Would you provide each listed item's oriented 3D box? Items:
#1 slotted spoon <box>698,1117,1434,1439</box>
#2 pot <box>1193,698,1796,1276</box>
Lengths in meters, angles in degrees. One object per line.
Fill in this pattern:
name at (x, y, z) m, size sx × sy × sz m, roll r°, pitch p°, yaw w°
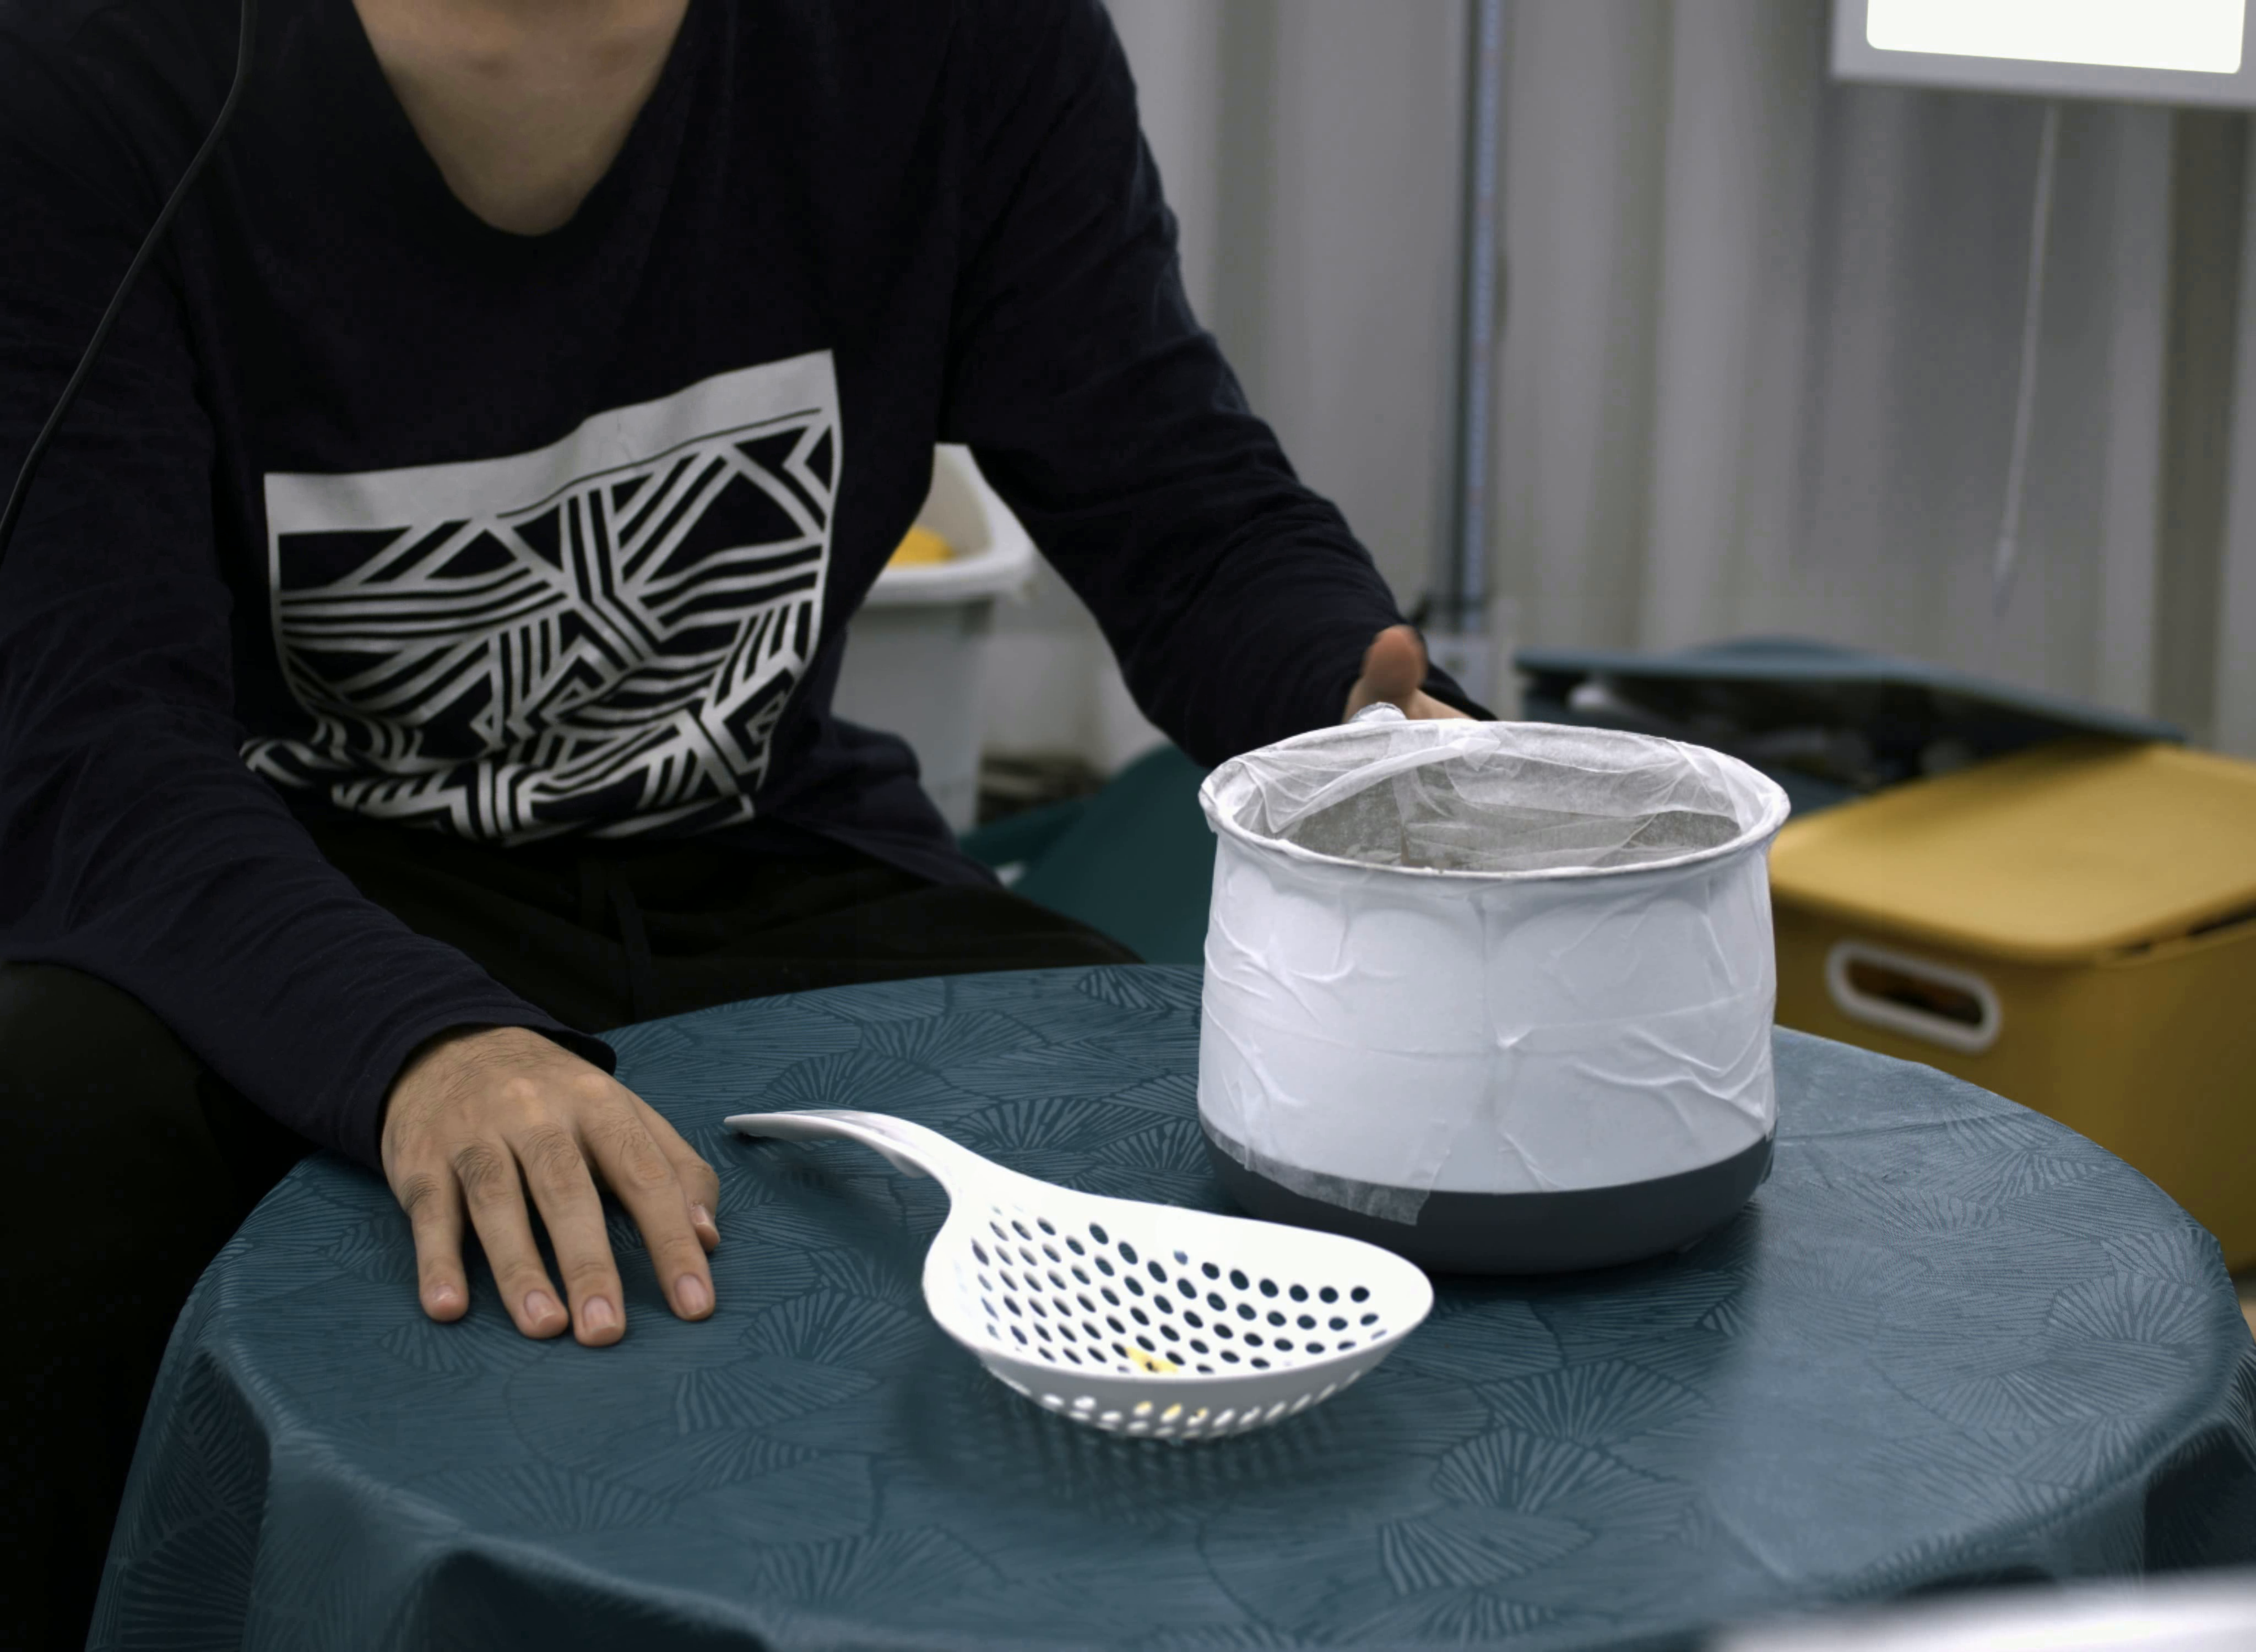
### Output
slotted spoon at (-0.040, 0.116, 1.525) m, size 0.137 × 0.051 × 0.343 m, roll -9°, pitch 19°, yaw -28°
pot at (0.100, 0.044, 1.618) m, size 0.179 × 0.137 × 0.231 m, roll -3°, pitch 16°, yaw -19°
